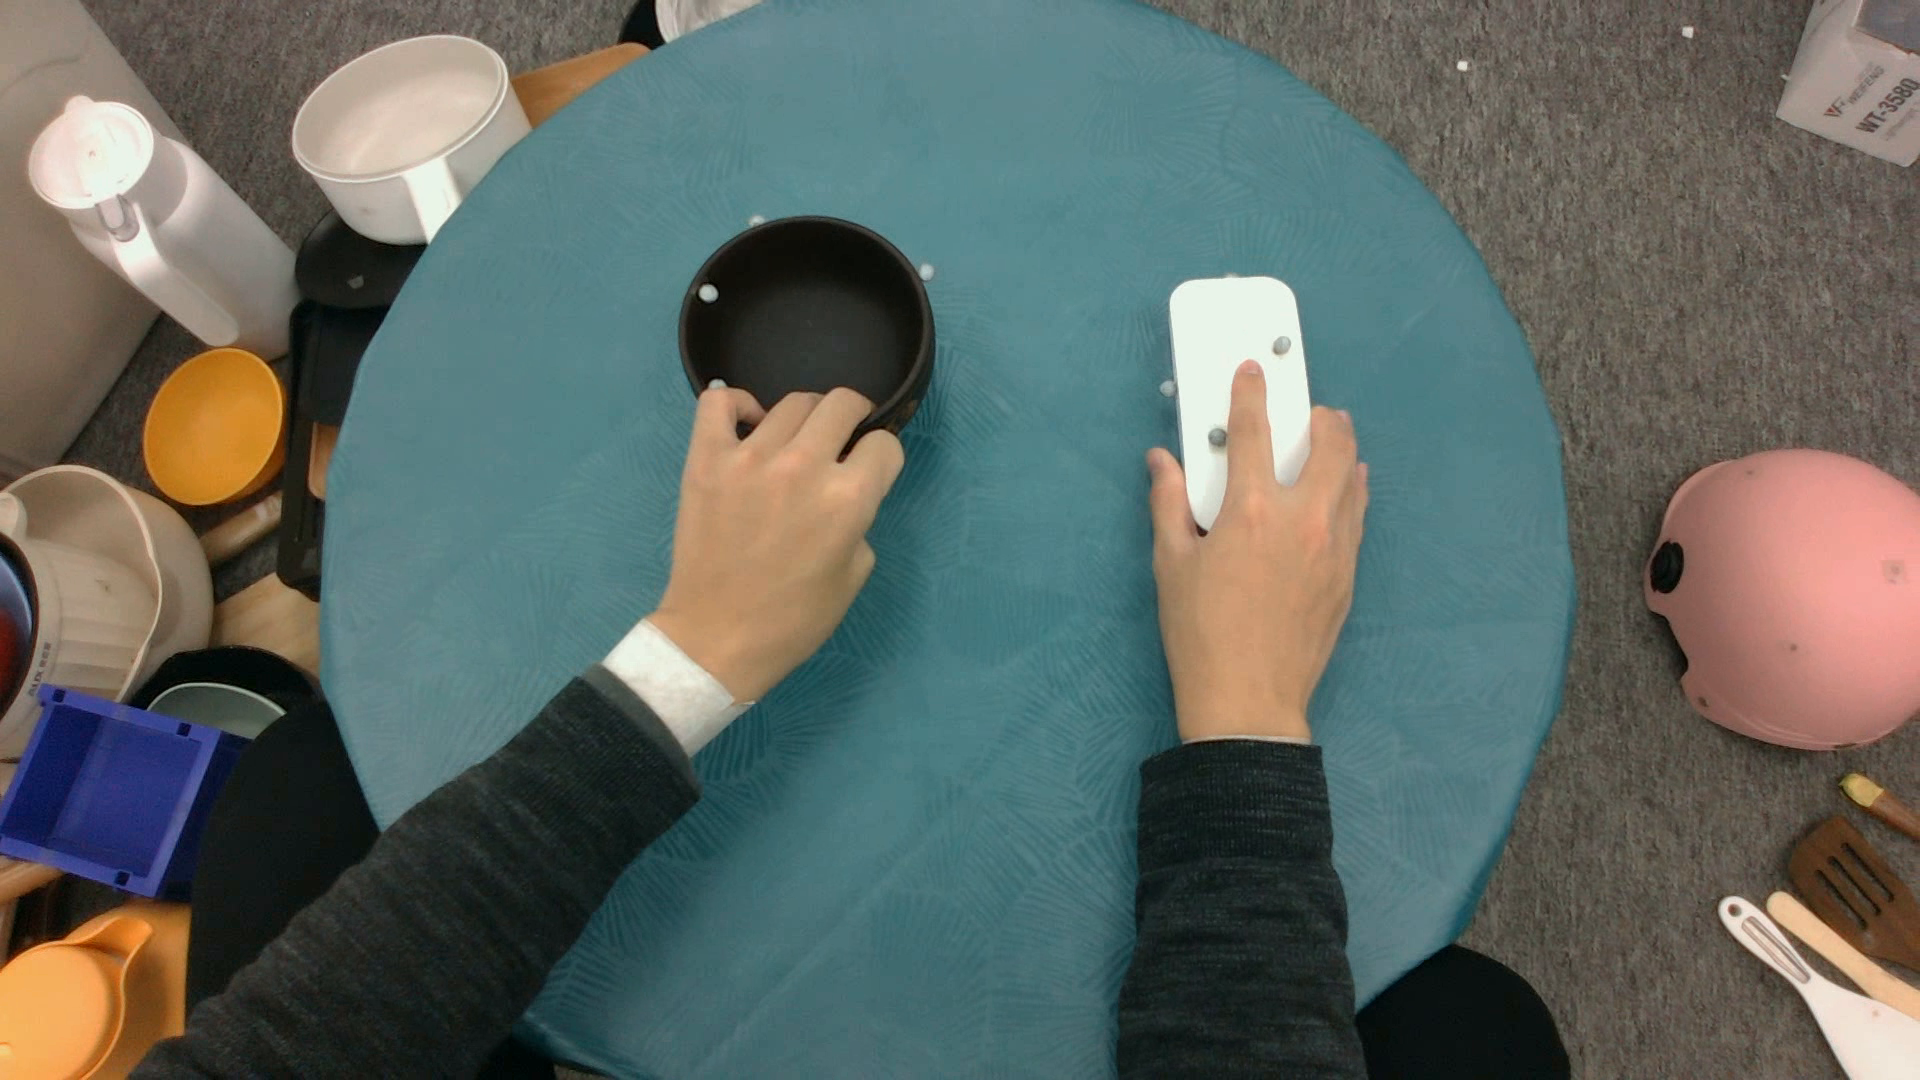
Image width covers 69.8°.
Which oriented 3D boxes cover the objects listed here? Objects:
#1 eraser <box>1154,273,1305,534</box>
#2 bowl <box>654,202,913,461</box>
[{"bbox_3d":[0.127,-0.067,0.663,0.063,0.034,0.131,-3,70,2],"label":"eraser"},{"bbox_3d":[-0.082,-0.092,0.650,0.118,0.069,0.118,2,76,-6],"label":"bowl"}]
